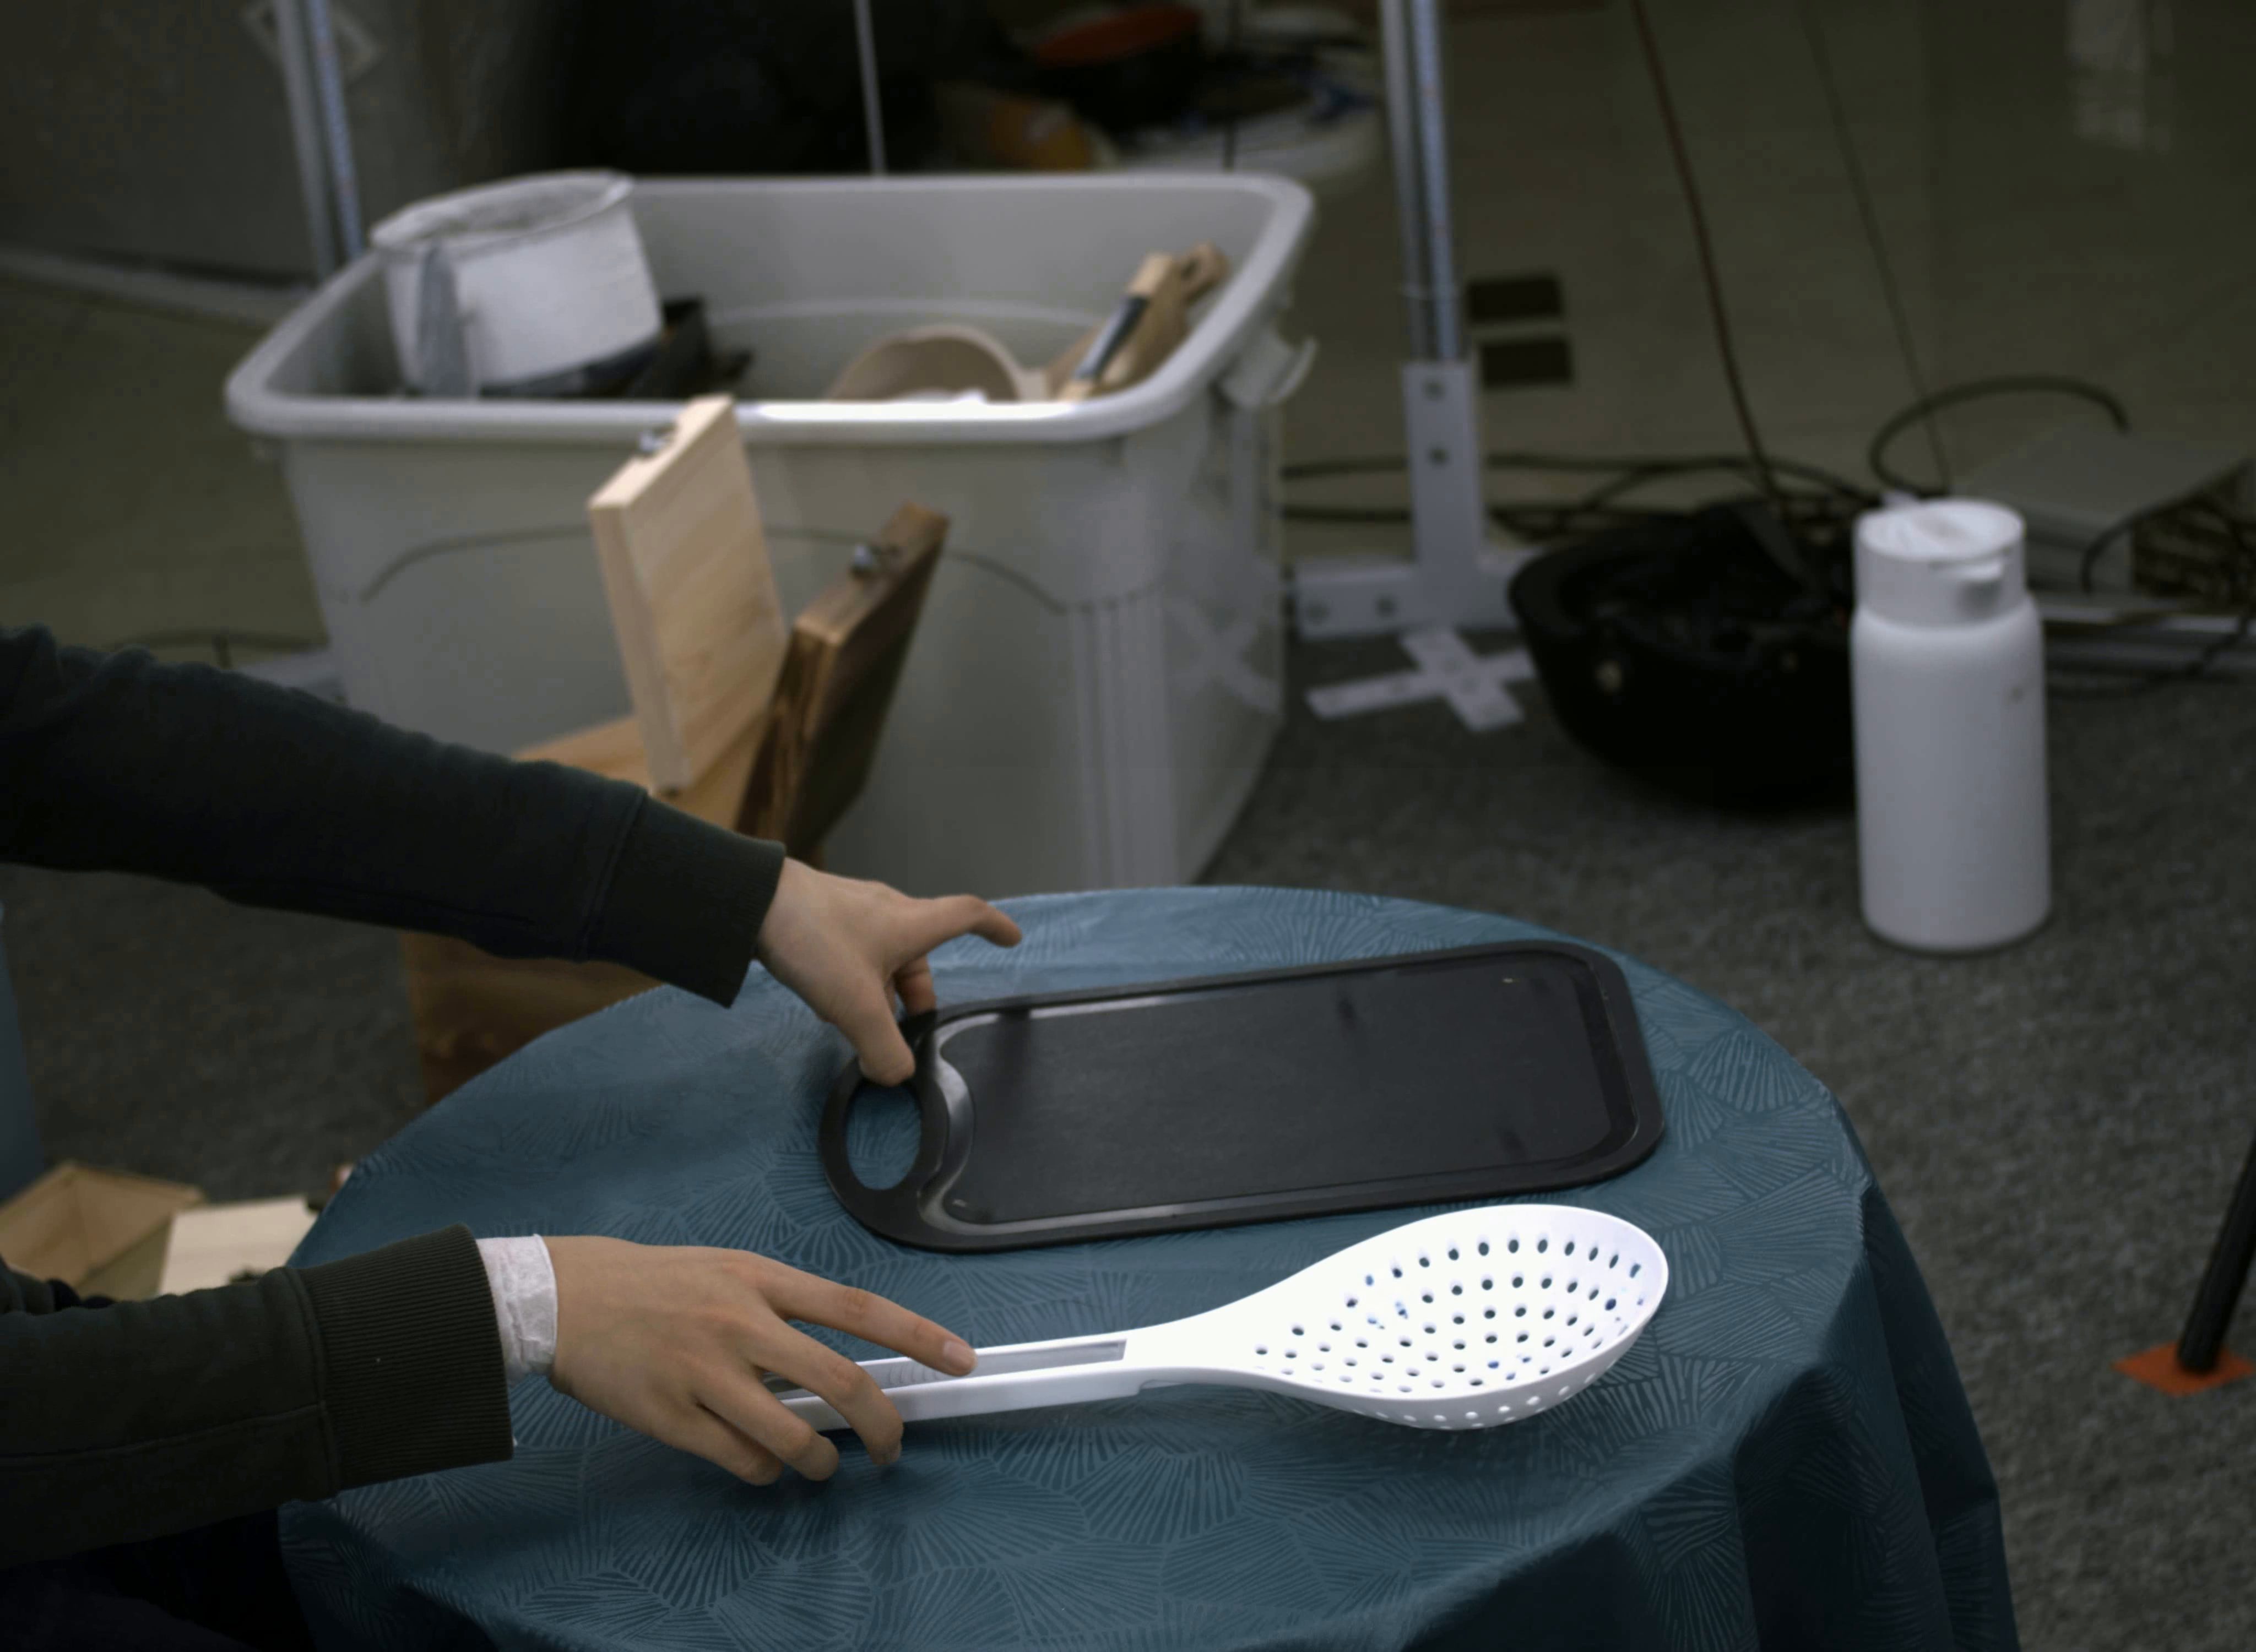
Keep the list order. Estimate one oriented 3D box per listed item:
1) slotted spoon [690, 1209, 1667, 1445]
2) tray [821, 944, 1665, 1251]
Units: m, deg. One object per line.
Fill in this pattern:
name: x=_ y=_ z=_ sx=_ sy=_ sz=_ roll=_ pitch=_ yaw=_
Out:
slotted spoon: x=0.016 y=0.186 z=1.993 sx=0.349 sy=0.046 sz=0.134 roll=-4 pitch=22 yaw=8
tray: x=0.041 y=0.103 z=2.211 sx=0.325 sy=0.010 sz=0.208 roll=-6 pitch=24 yaw=1
